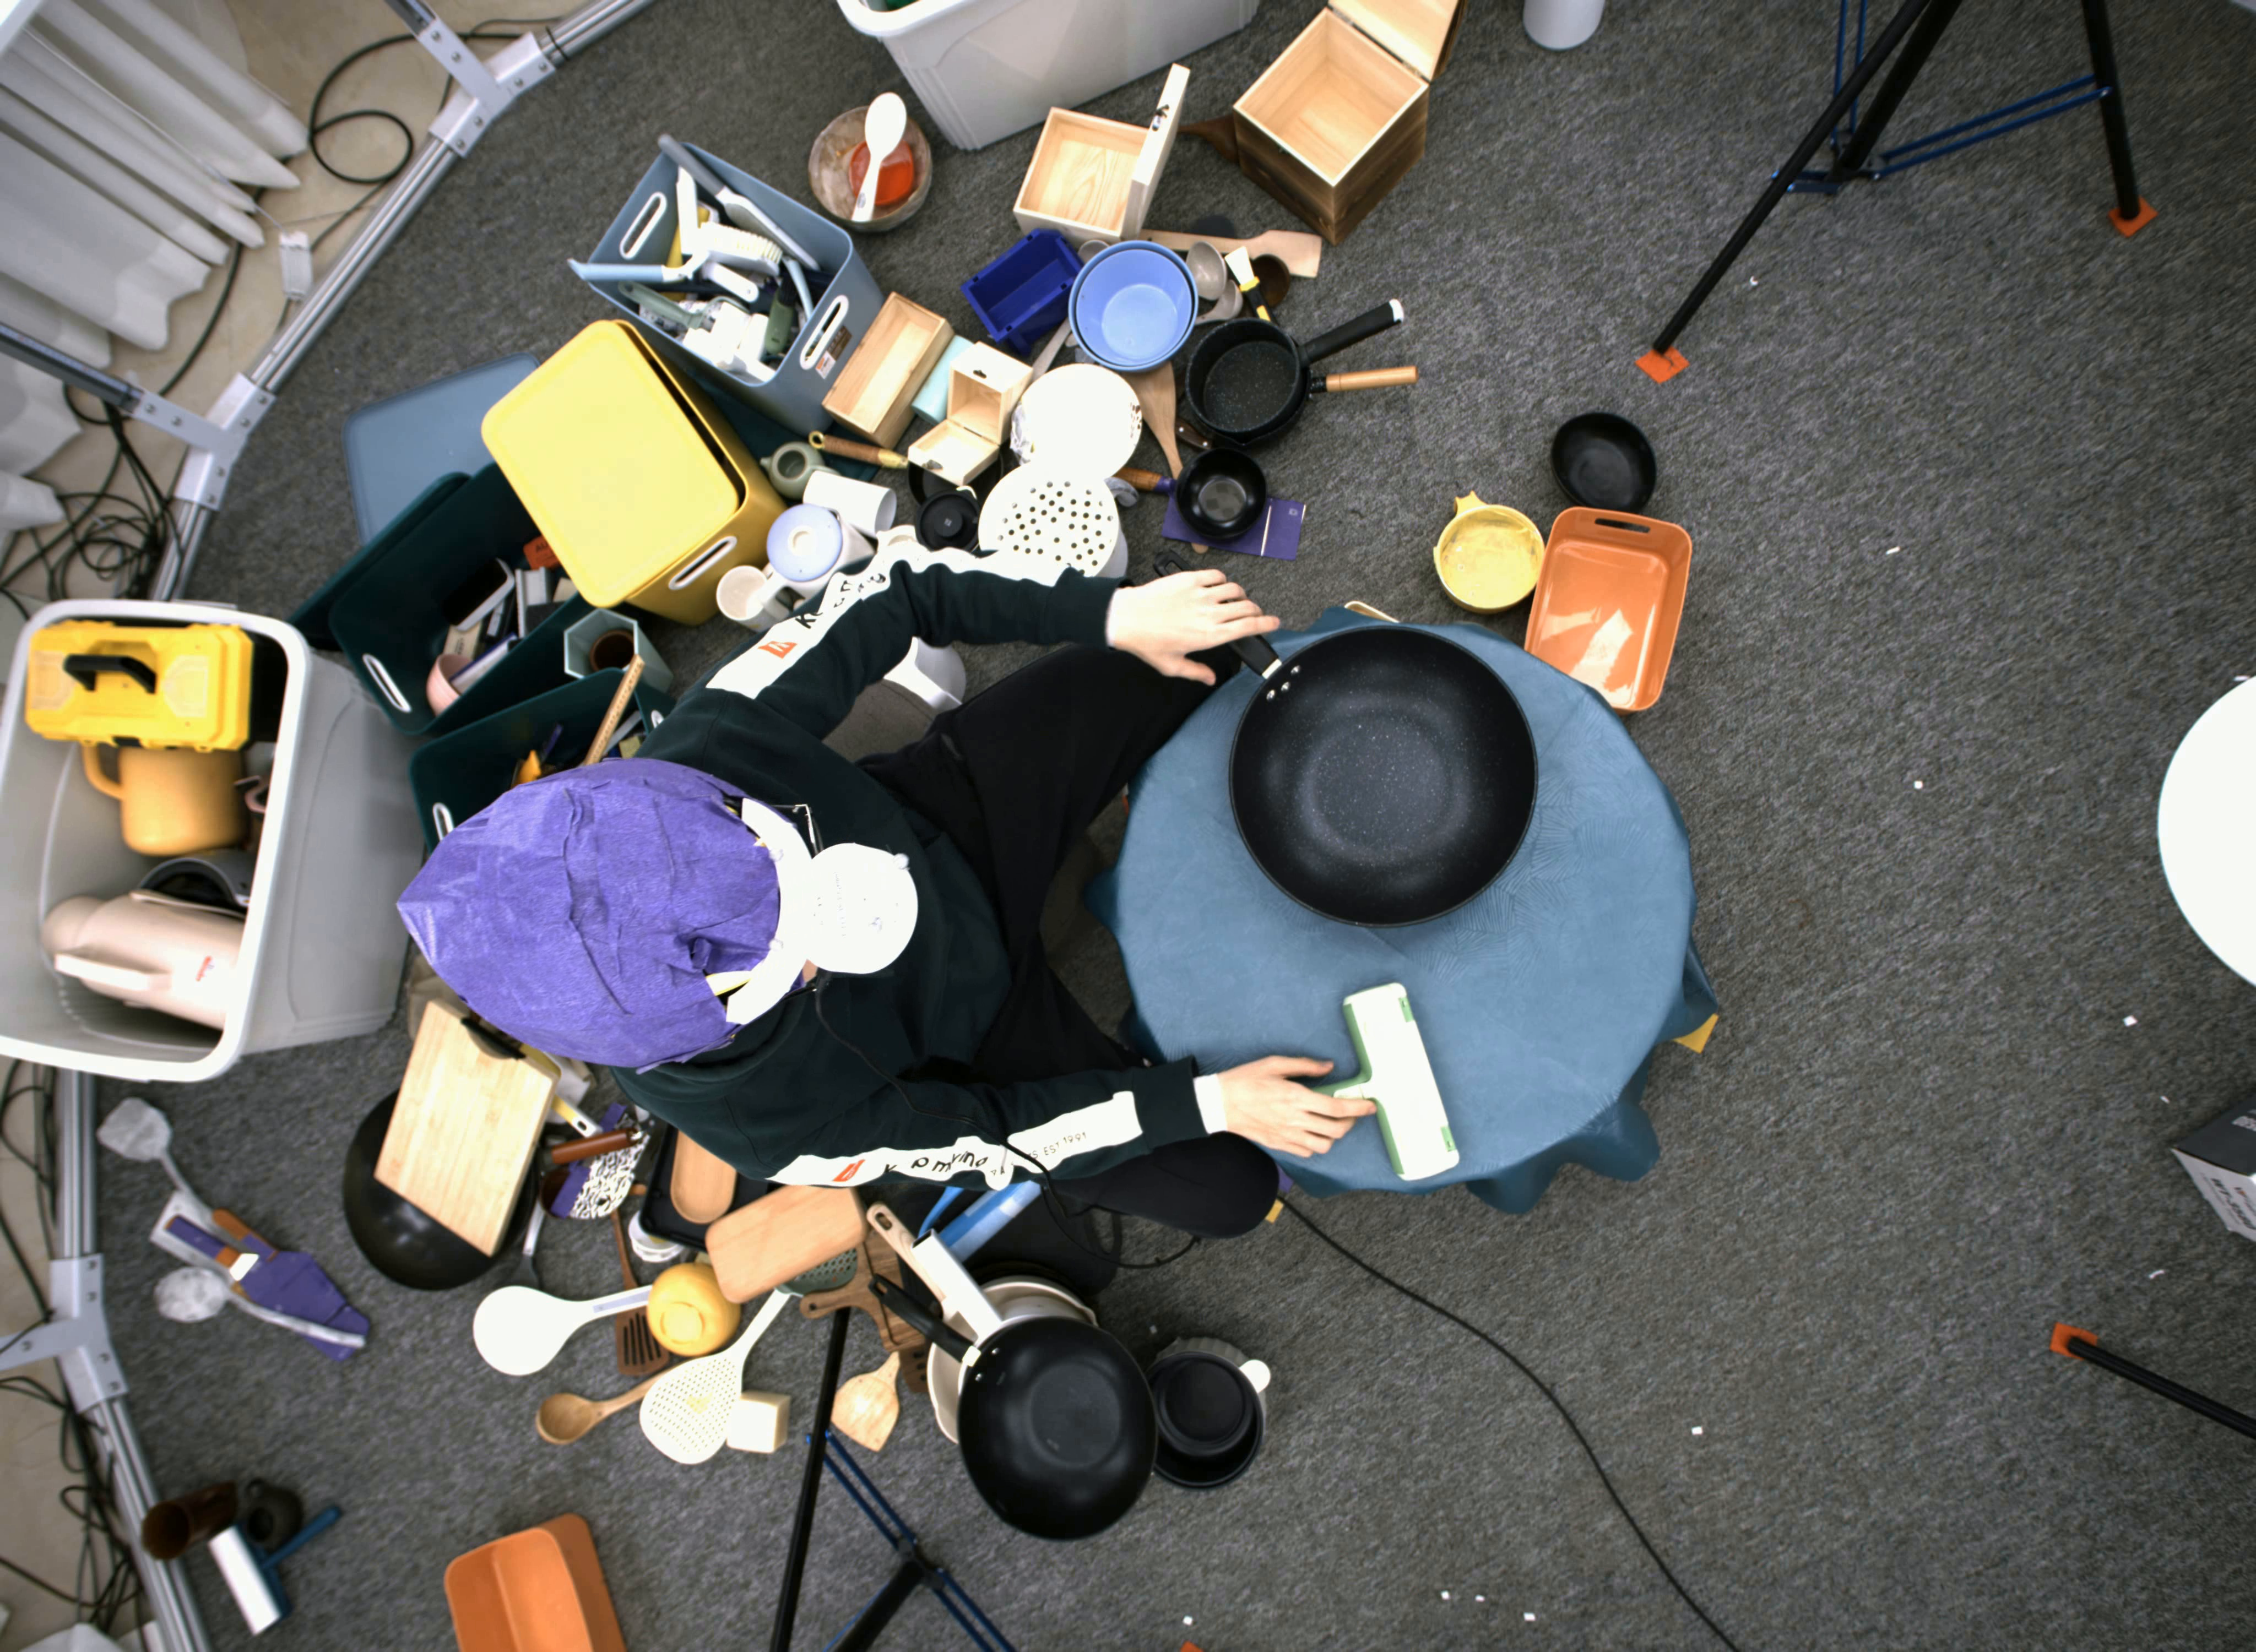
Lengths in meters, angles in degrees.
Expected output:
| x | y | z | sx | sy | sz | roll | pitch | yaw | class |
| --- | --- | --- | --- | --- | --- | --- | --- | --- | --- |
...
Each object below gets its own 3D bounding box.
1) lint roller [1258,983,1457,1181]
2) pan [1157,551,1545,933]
| x | y | z | sx | sy | sz | roll | pitch | yaw | class |
| --- | --- | --- | --- | --- | --- | --- | --- | --- | --- |
| 0.221 | 0.276 | 1.416 | 0.184 | 0.082 | 0.197 | -17 | 84 | 4 | lint roller |
| 0.207 | -0.104 | 1.422 | 0.311 | 0.112 | 0.475 | -45 | 81 | 4 | pan |
